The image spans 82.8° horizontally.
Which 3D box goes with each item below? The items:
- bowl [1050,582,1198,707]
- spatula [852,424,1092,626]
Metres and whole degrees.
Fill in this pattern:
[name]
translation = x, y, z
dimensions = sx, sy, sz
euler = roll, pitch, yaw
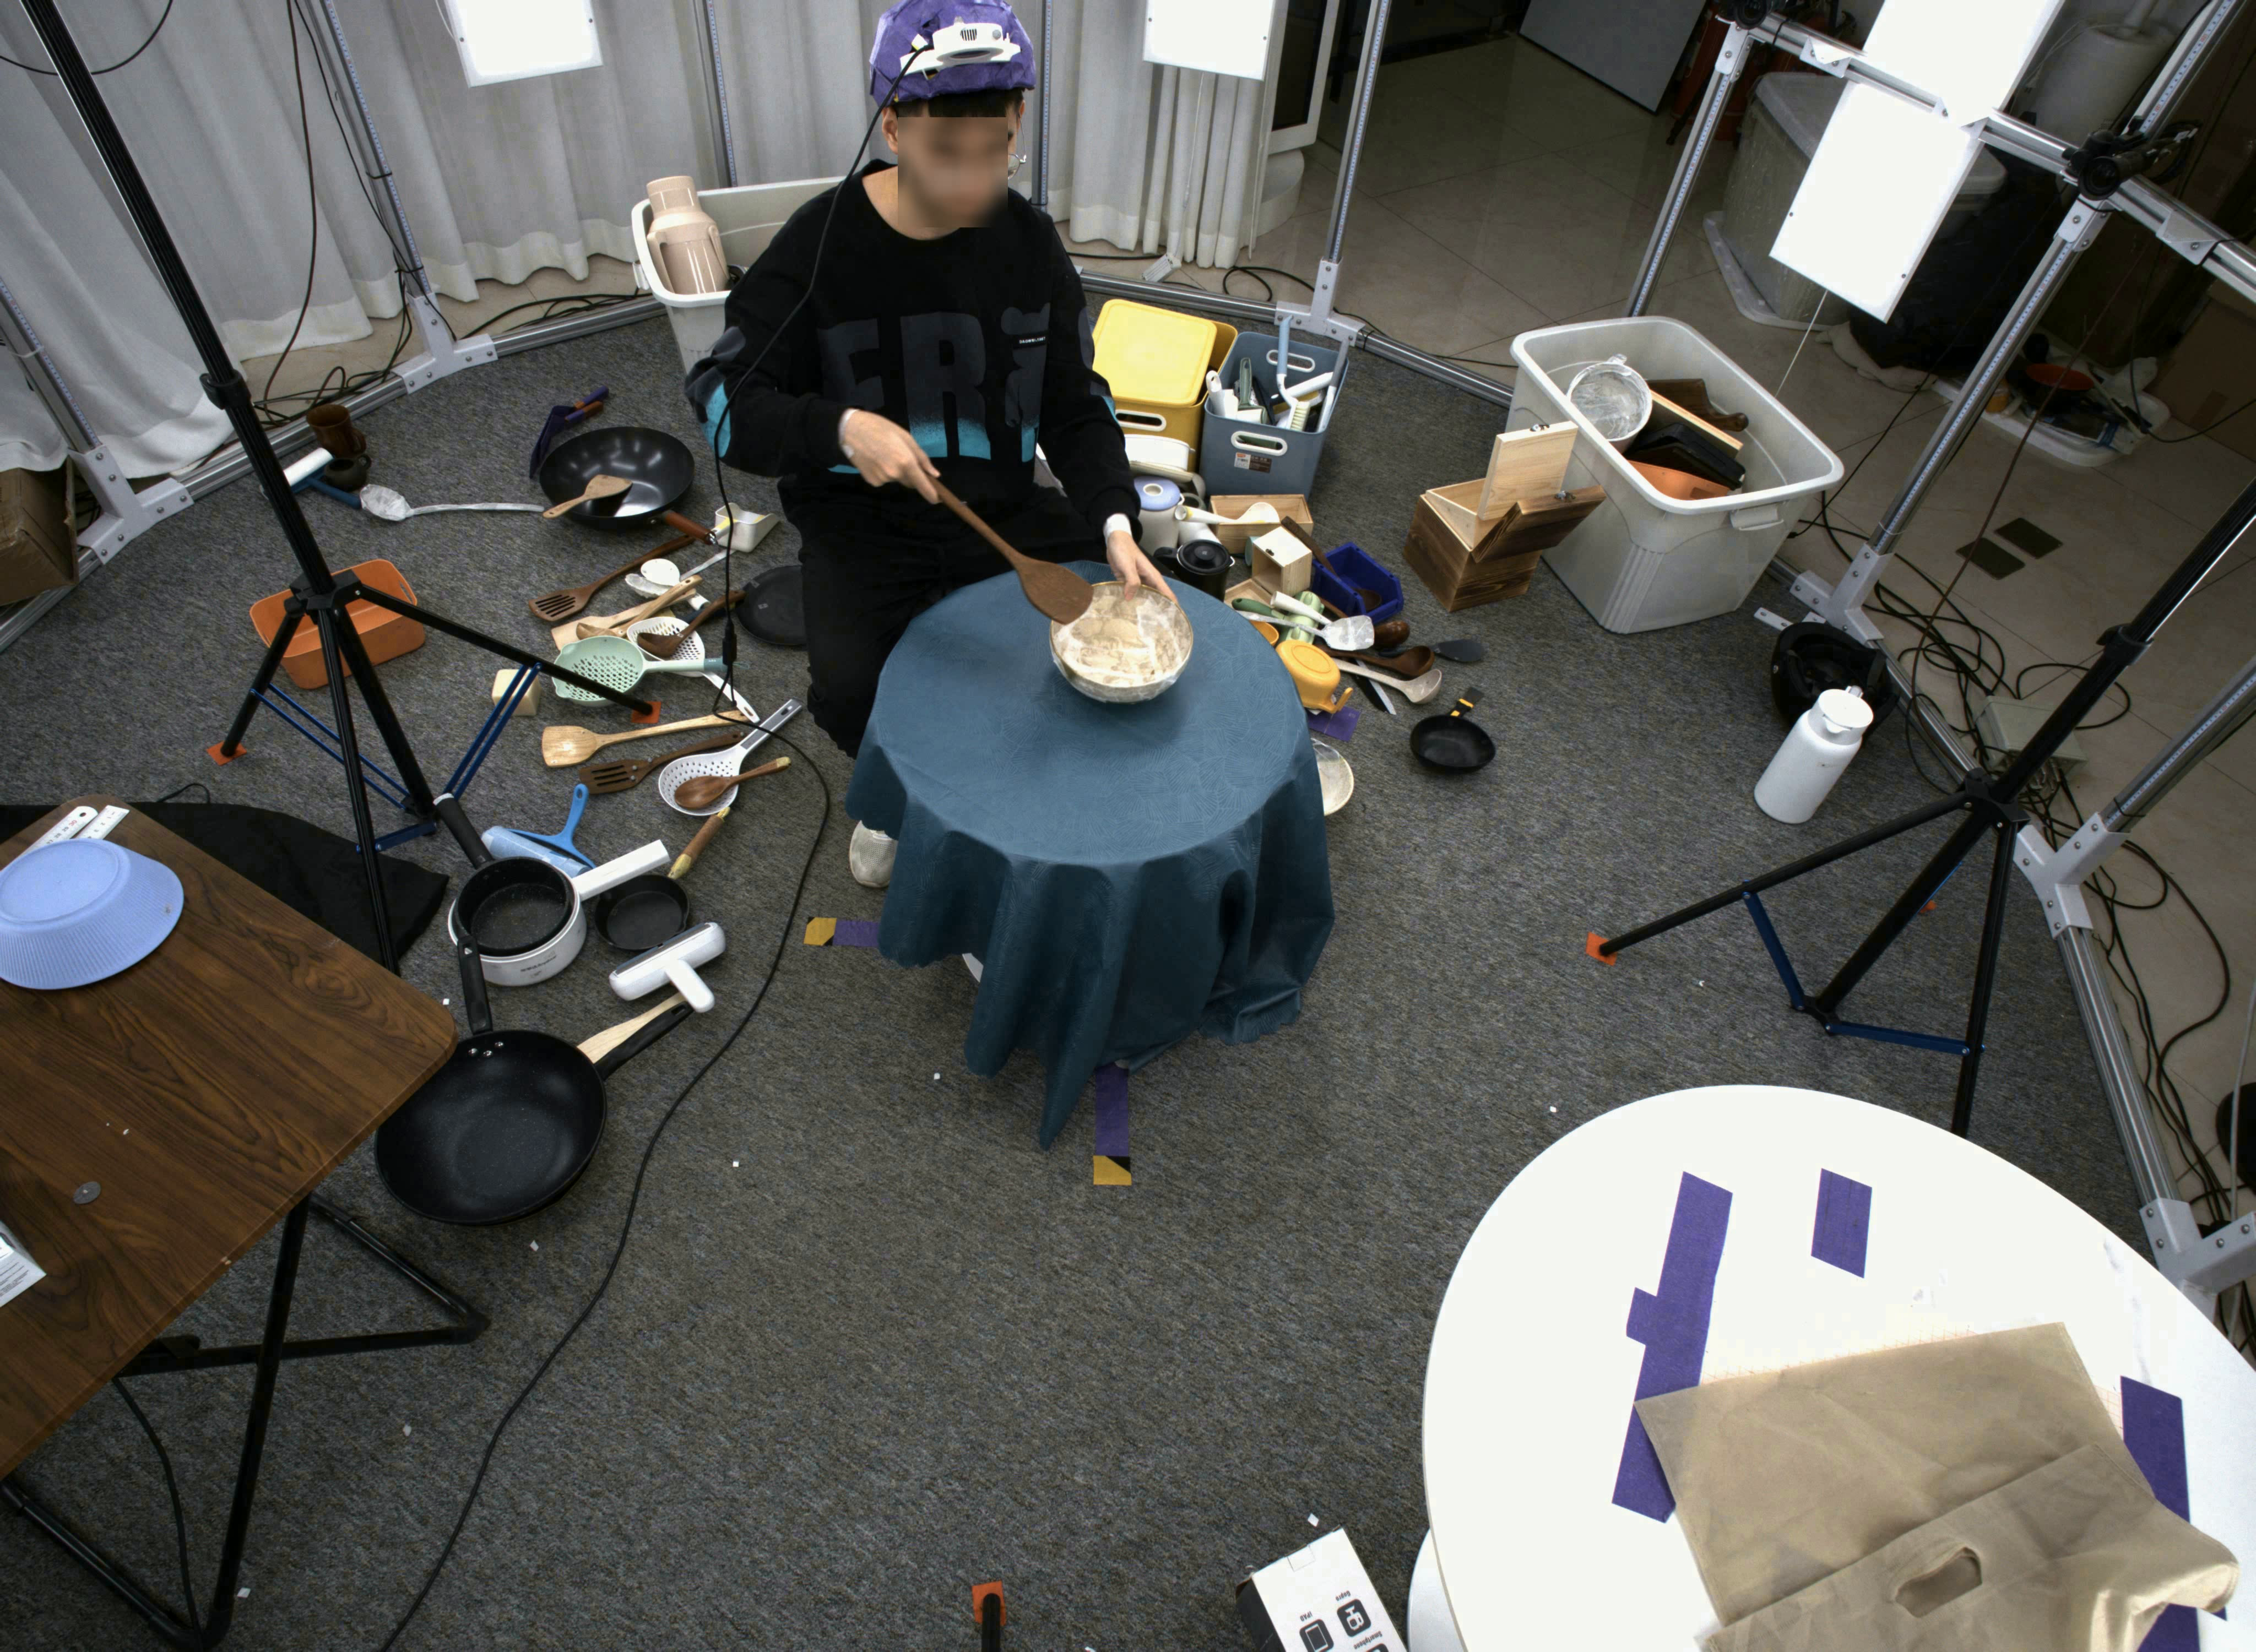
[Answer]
[bowl]
translation = -0.007, -0.245, 1.835
dimensions = 0.214, 0.092, 0.220
euler = 1, 52, -1
[spatula]
translation = -0.210, -0.405, 1.723
dimensions = 0.385, 0.015, 0.097
euler = 40, 51, -2
